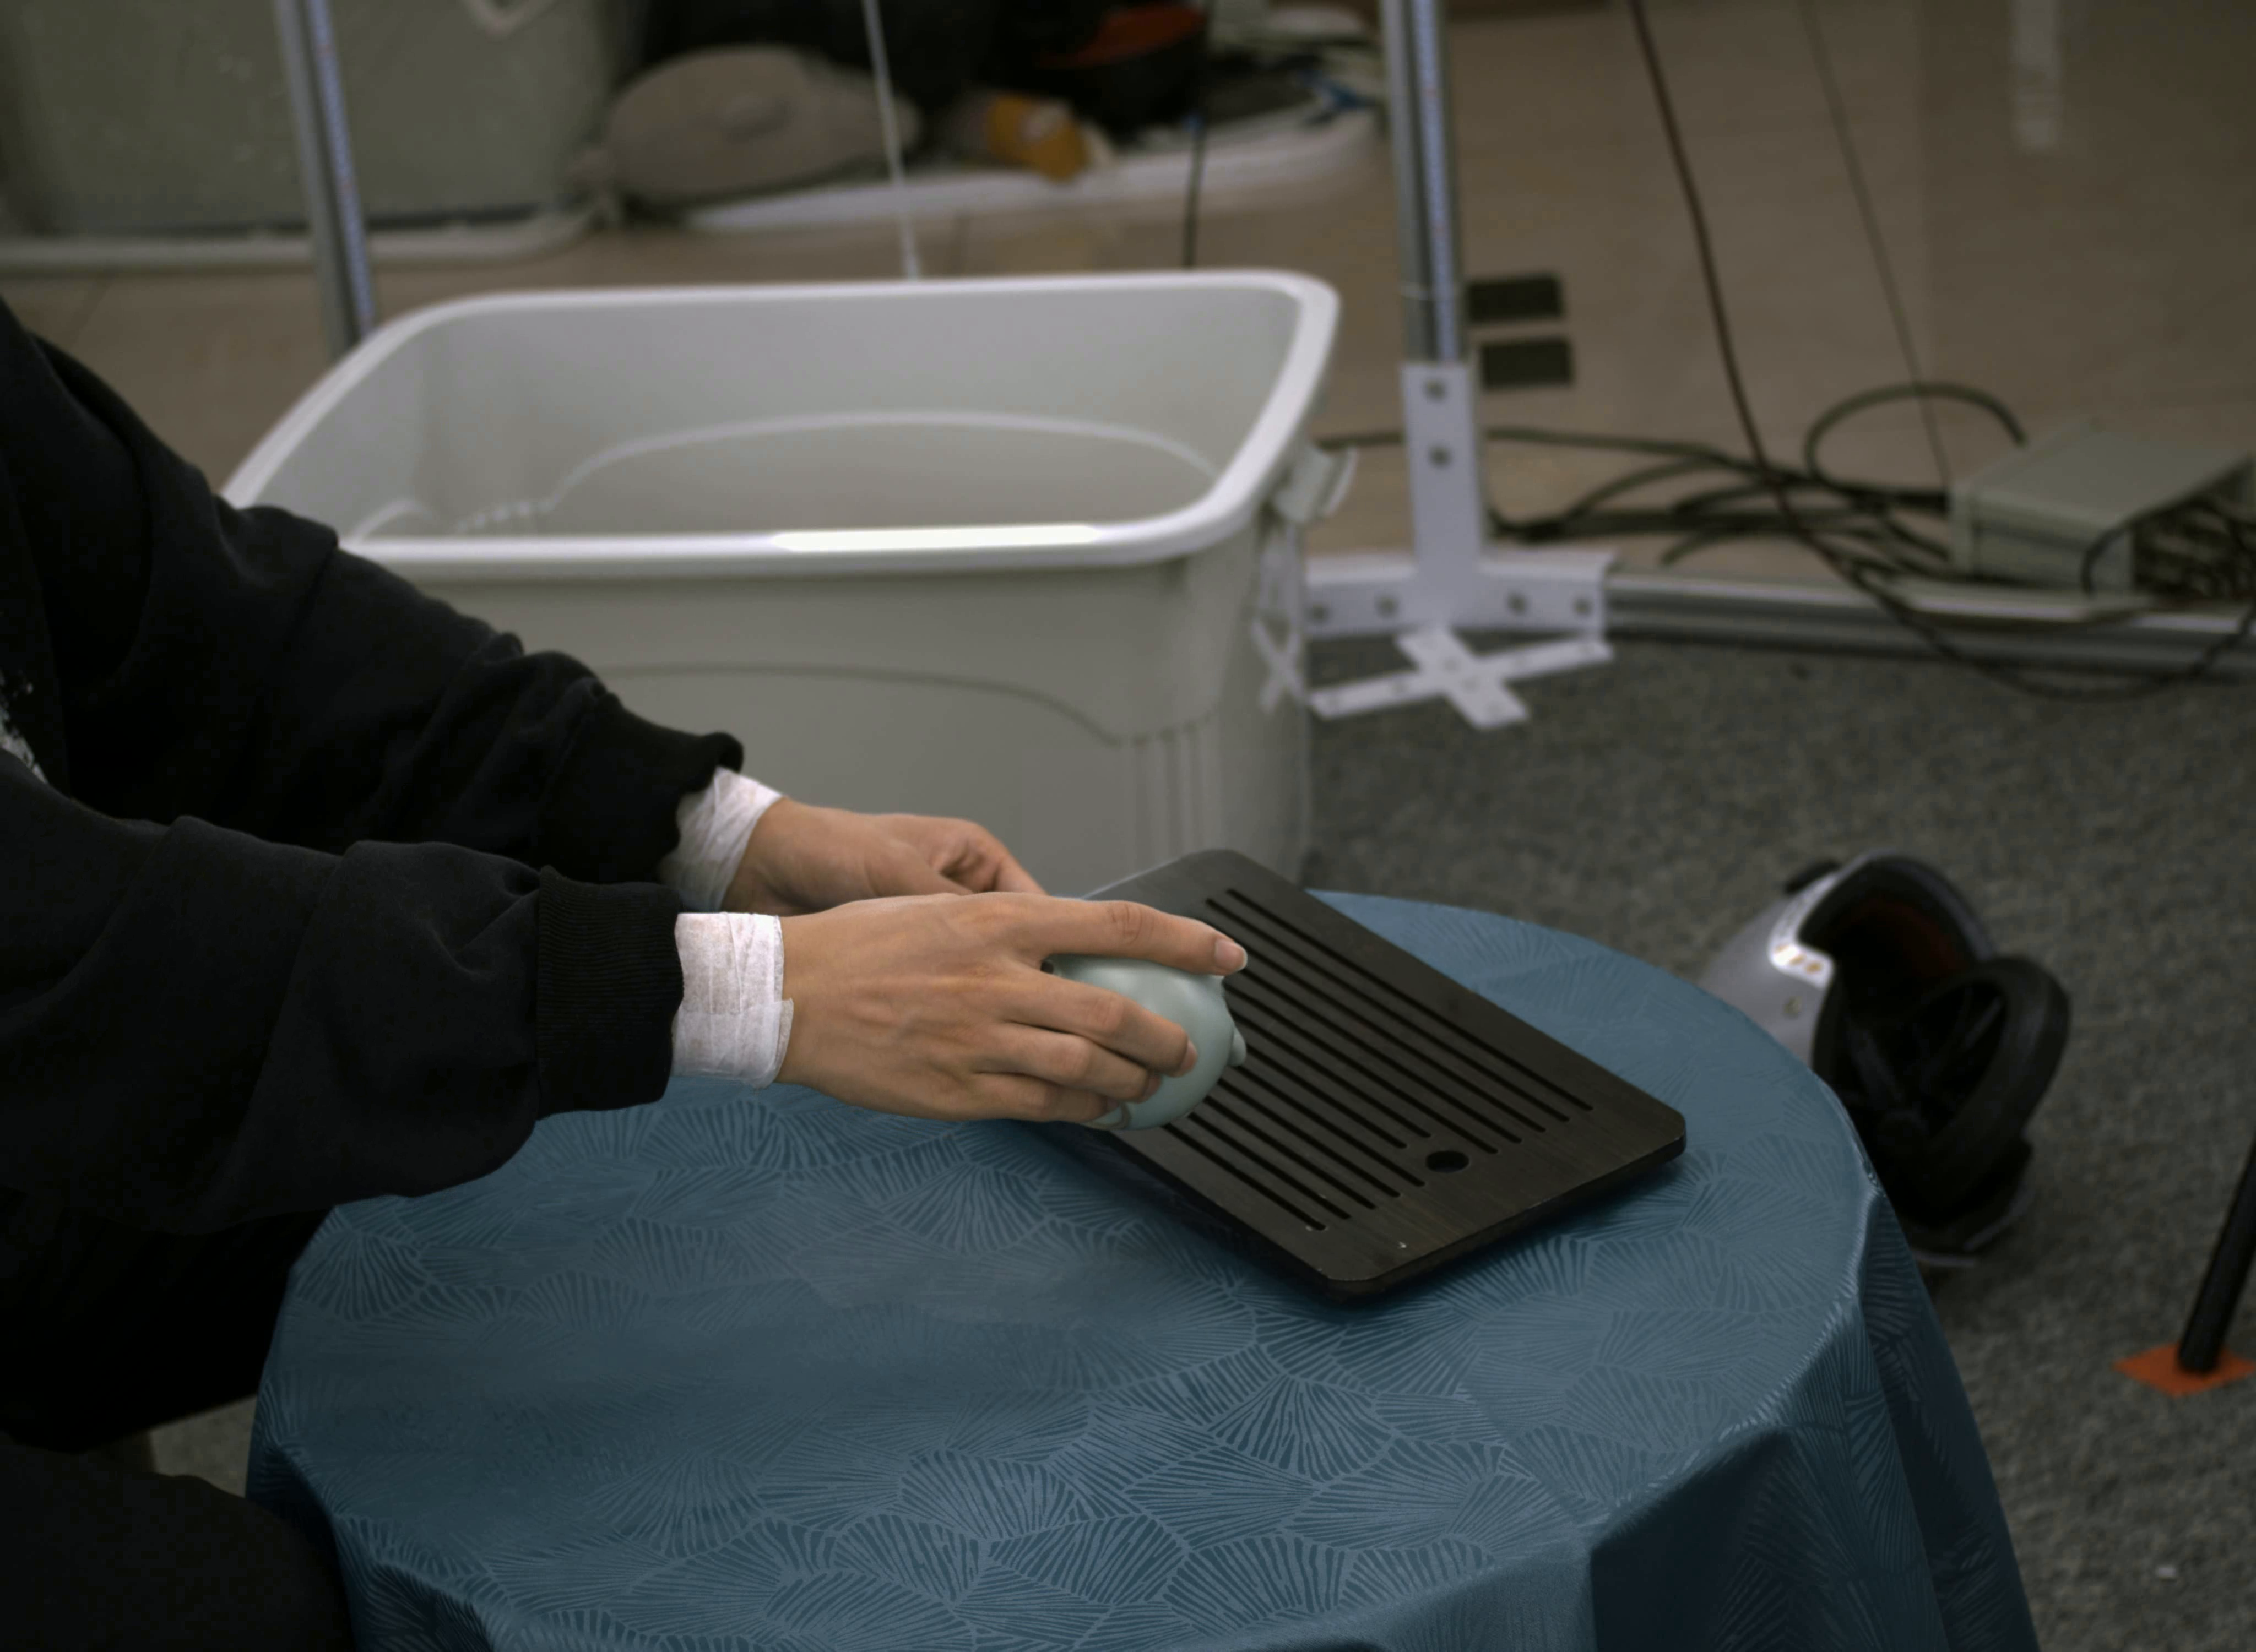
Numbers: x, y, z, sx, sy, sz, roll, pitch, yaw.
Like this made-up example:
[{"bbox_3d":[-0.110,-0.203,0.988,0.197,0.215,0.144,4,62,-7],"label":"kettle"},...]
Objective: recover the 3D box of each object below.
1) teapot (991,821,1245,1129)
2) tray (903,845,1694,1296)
[{"bbox_3d":[-0.006,0.068,2.054,0.088,0.146,0.074,4,55,39],"label":"teapot"},{"bbox_3d":[0.061,0.091,2.192,0.169,0.019,0.302,-22,33,-29],"label":"tray"}]
